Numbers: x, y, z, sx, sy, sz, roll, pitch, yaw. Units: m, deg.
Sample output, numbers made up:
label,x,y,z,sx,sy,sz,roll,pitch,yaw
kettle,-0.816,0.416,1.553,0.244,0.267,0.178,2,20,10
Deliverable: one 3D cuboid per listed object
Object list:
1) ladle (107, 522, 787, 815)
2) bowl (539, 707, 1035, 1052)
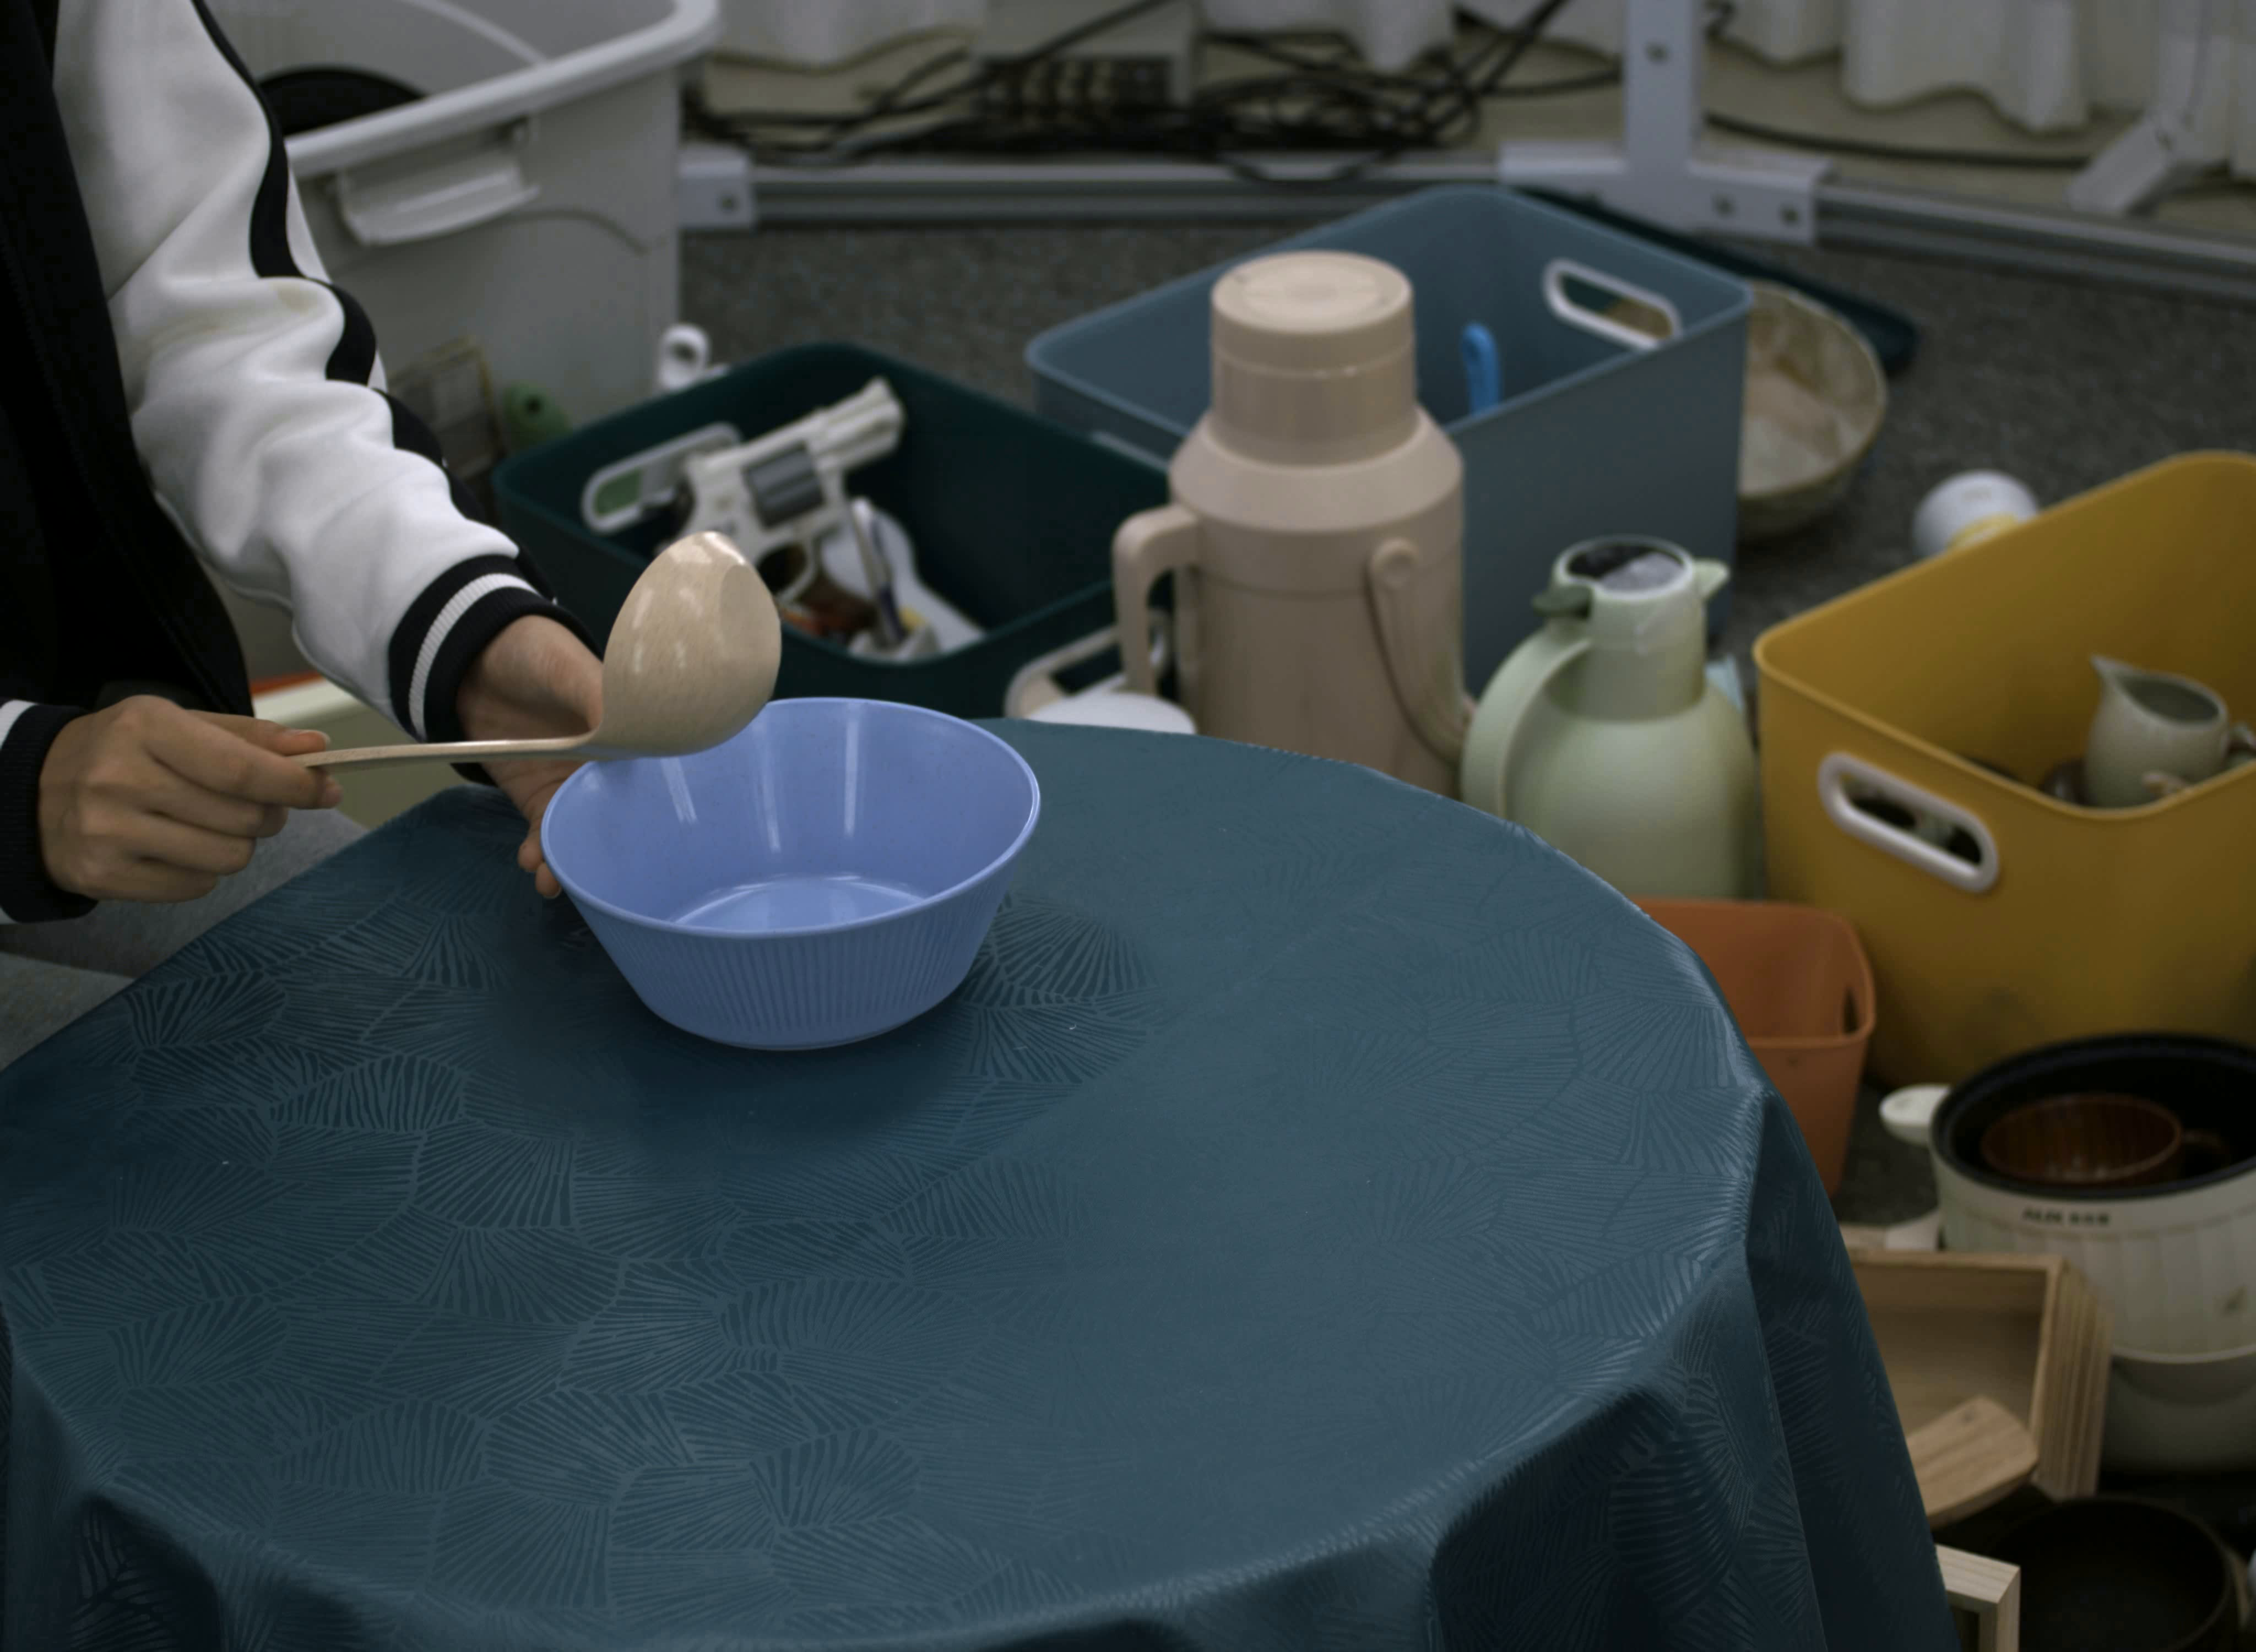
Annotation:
label,x,y,z,sx,sy,sz,roll,pitch,yaw
ladle,-0.233,-0.051,1.888,0.252,0.074,0.072,-7,-19,24
bowl,-0.118,0.024,1.986,0.175,0.069,0.179,-2,26,1
